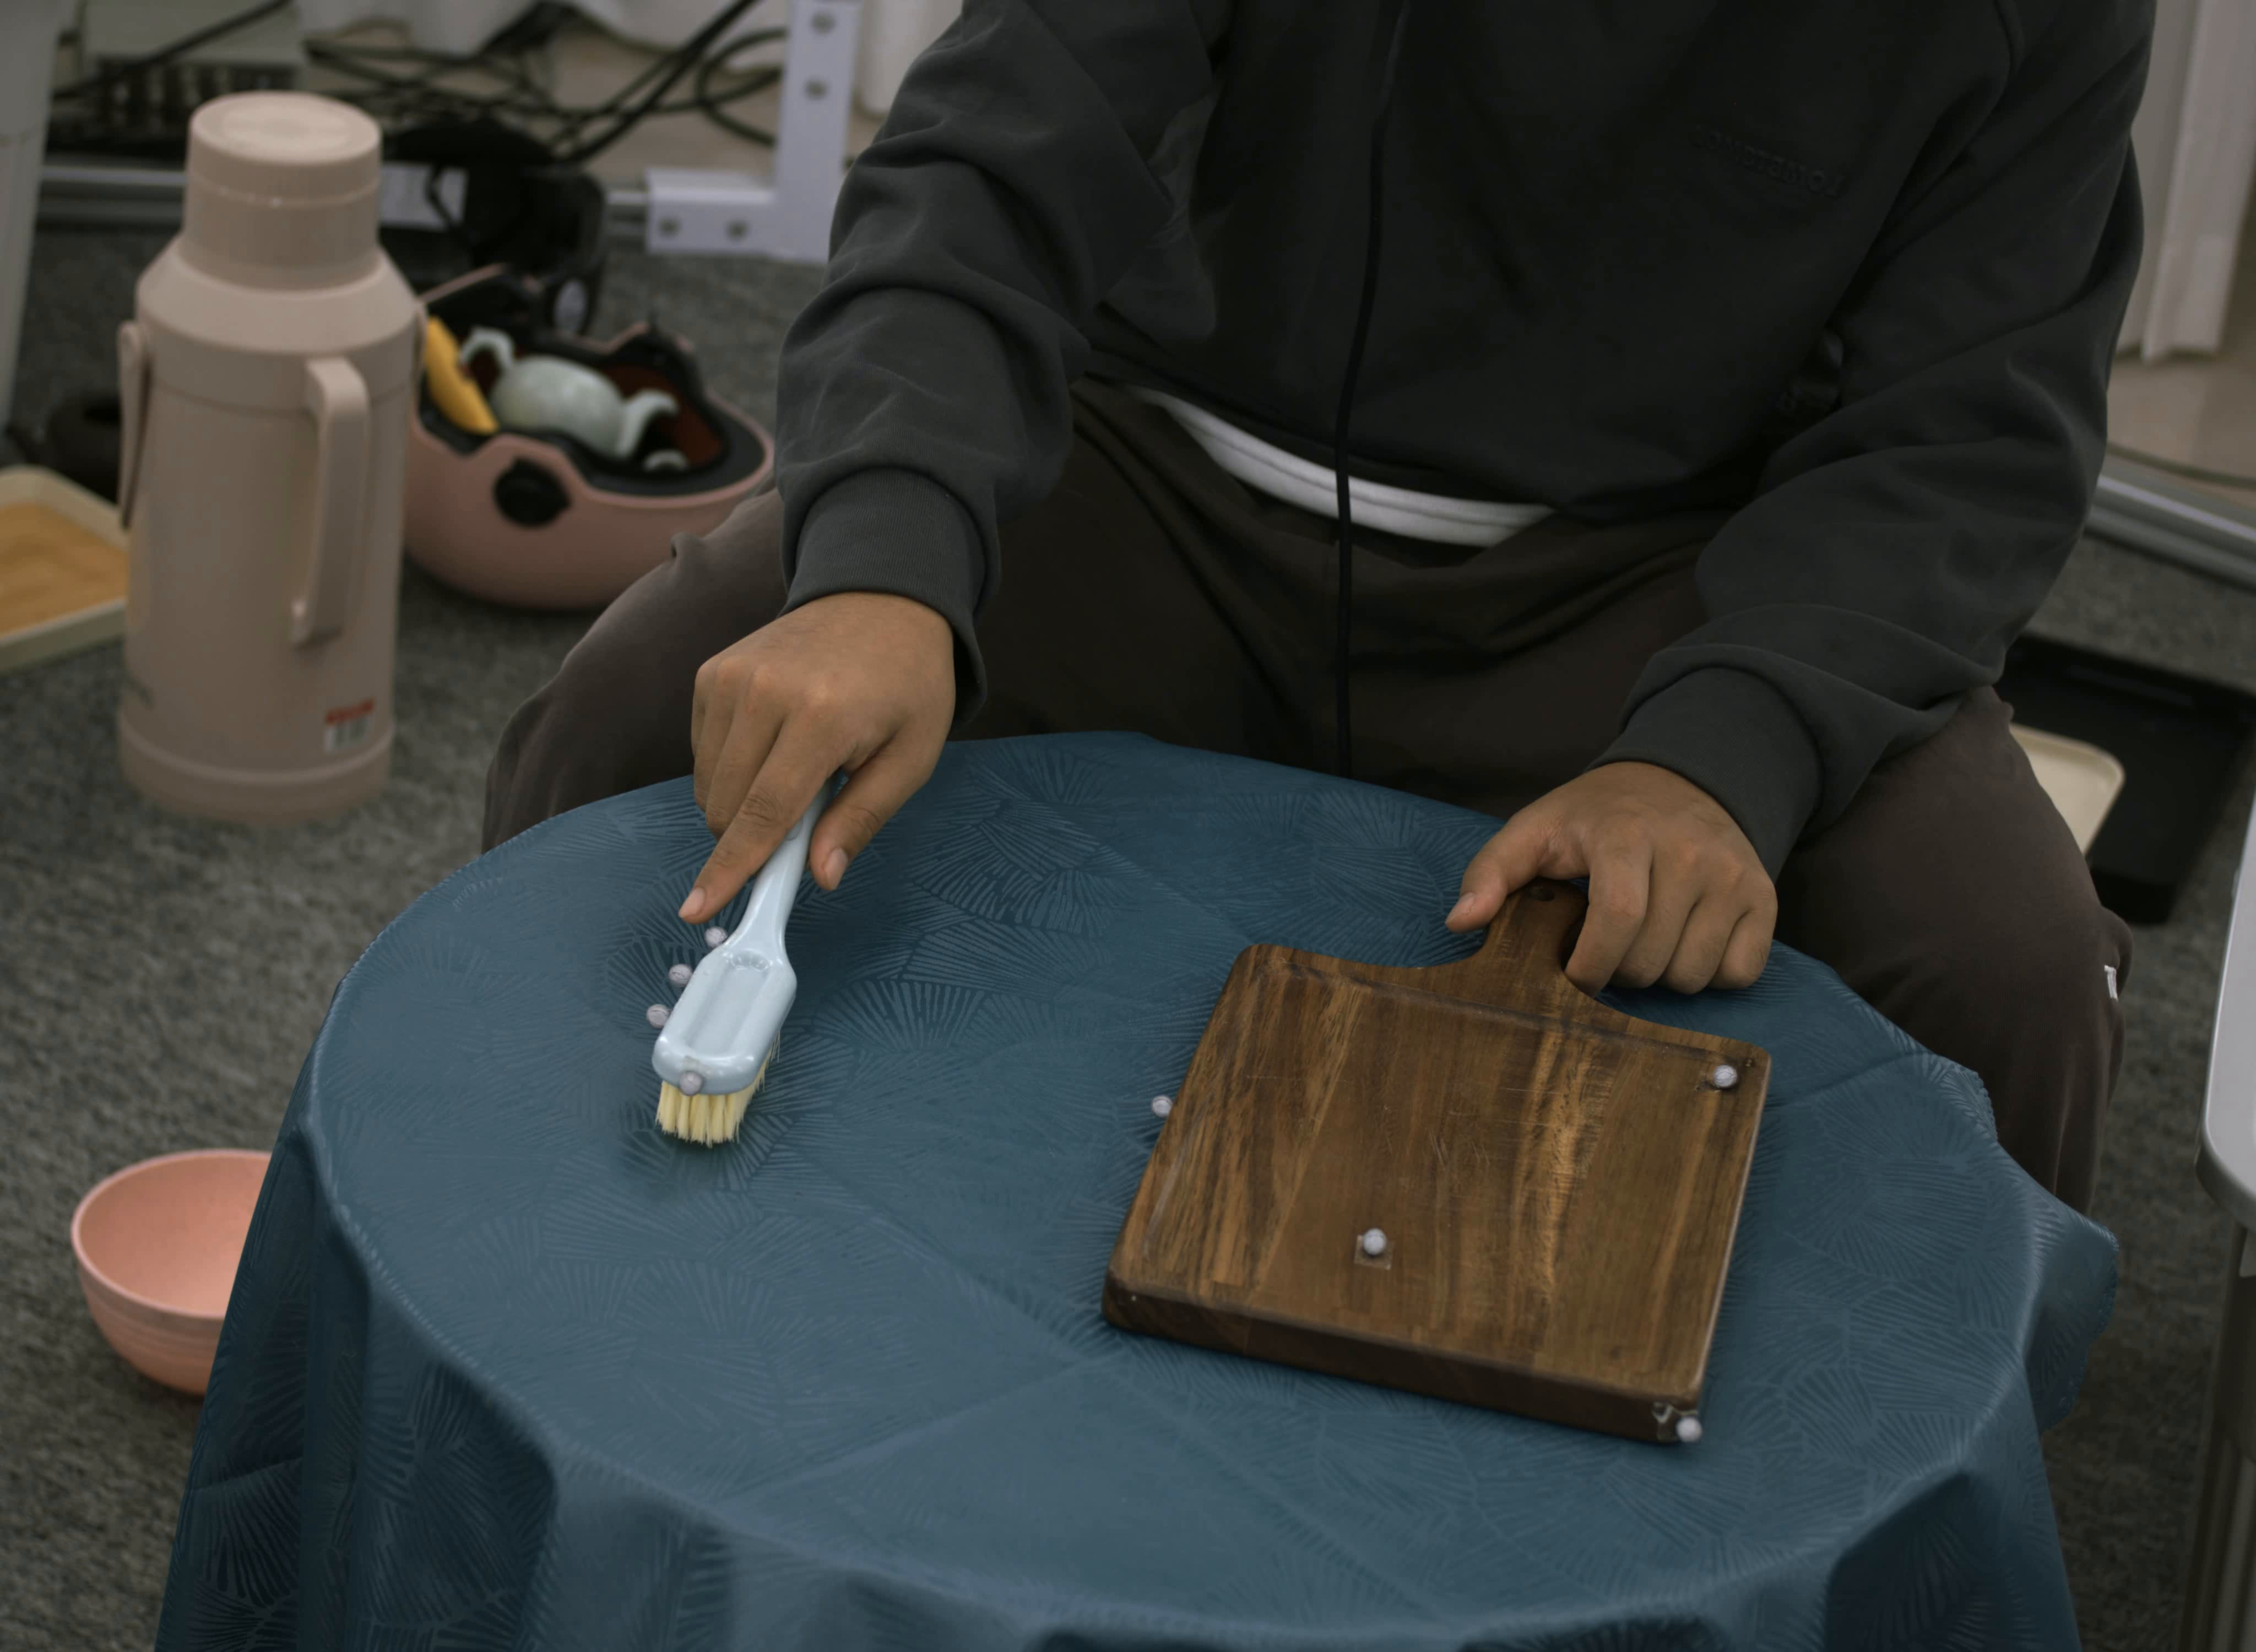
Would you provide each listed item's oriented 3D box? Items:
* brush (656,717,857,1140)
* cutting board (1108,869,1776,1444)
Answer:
[{"bbox_3d":[-0.128,0.031,1.881,0.038,0.049,0.230,10,38,3],"label":"brush"},{"bbox_3d":[0.123,0.099,1.860,0.201,0.023,0.353,11,27,8],"label":"cutting board"}]
